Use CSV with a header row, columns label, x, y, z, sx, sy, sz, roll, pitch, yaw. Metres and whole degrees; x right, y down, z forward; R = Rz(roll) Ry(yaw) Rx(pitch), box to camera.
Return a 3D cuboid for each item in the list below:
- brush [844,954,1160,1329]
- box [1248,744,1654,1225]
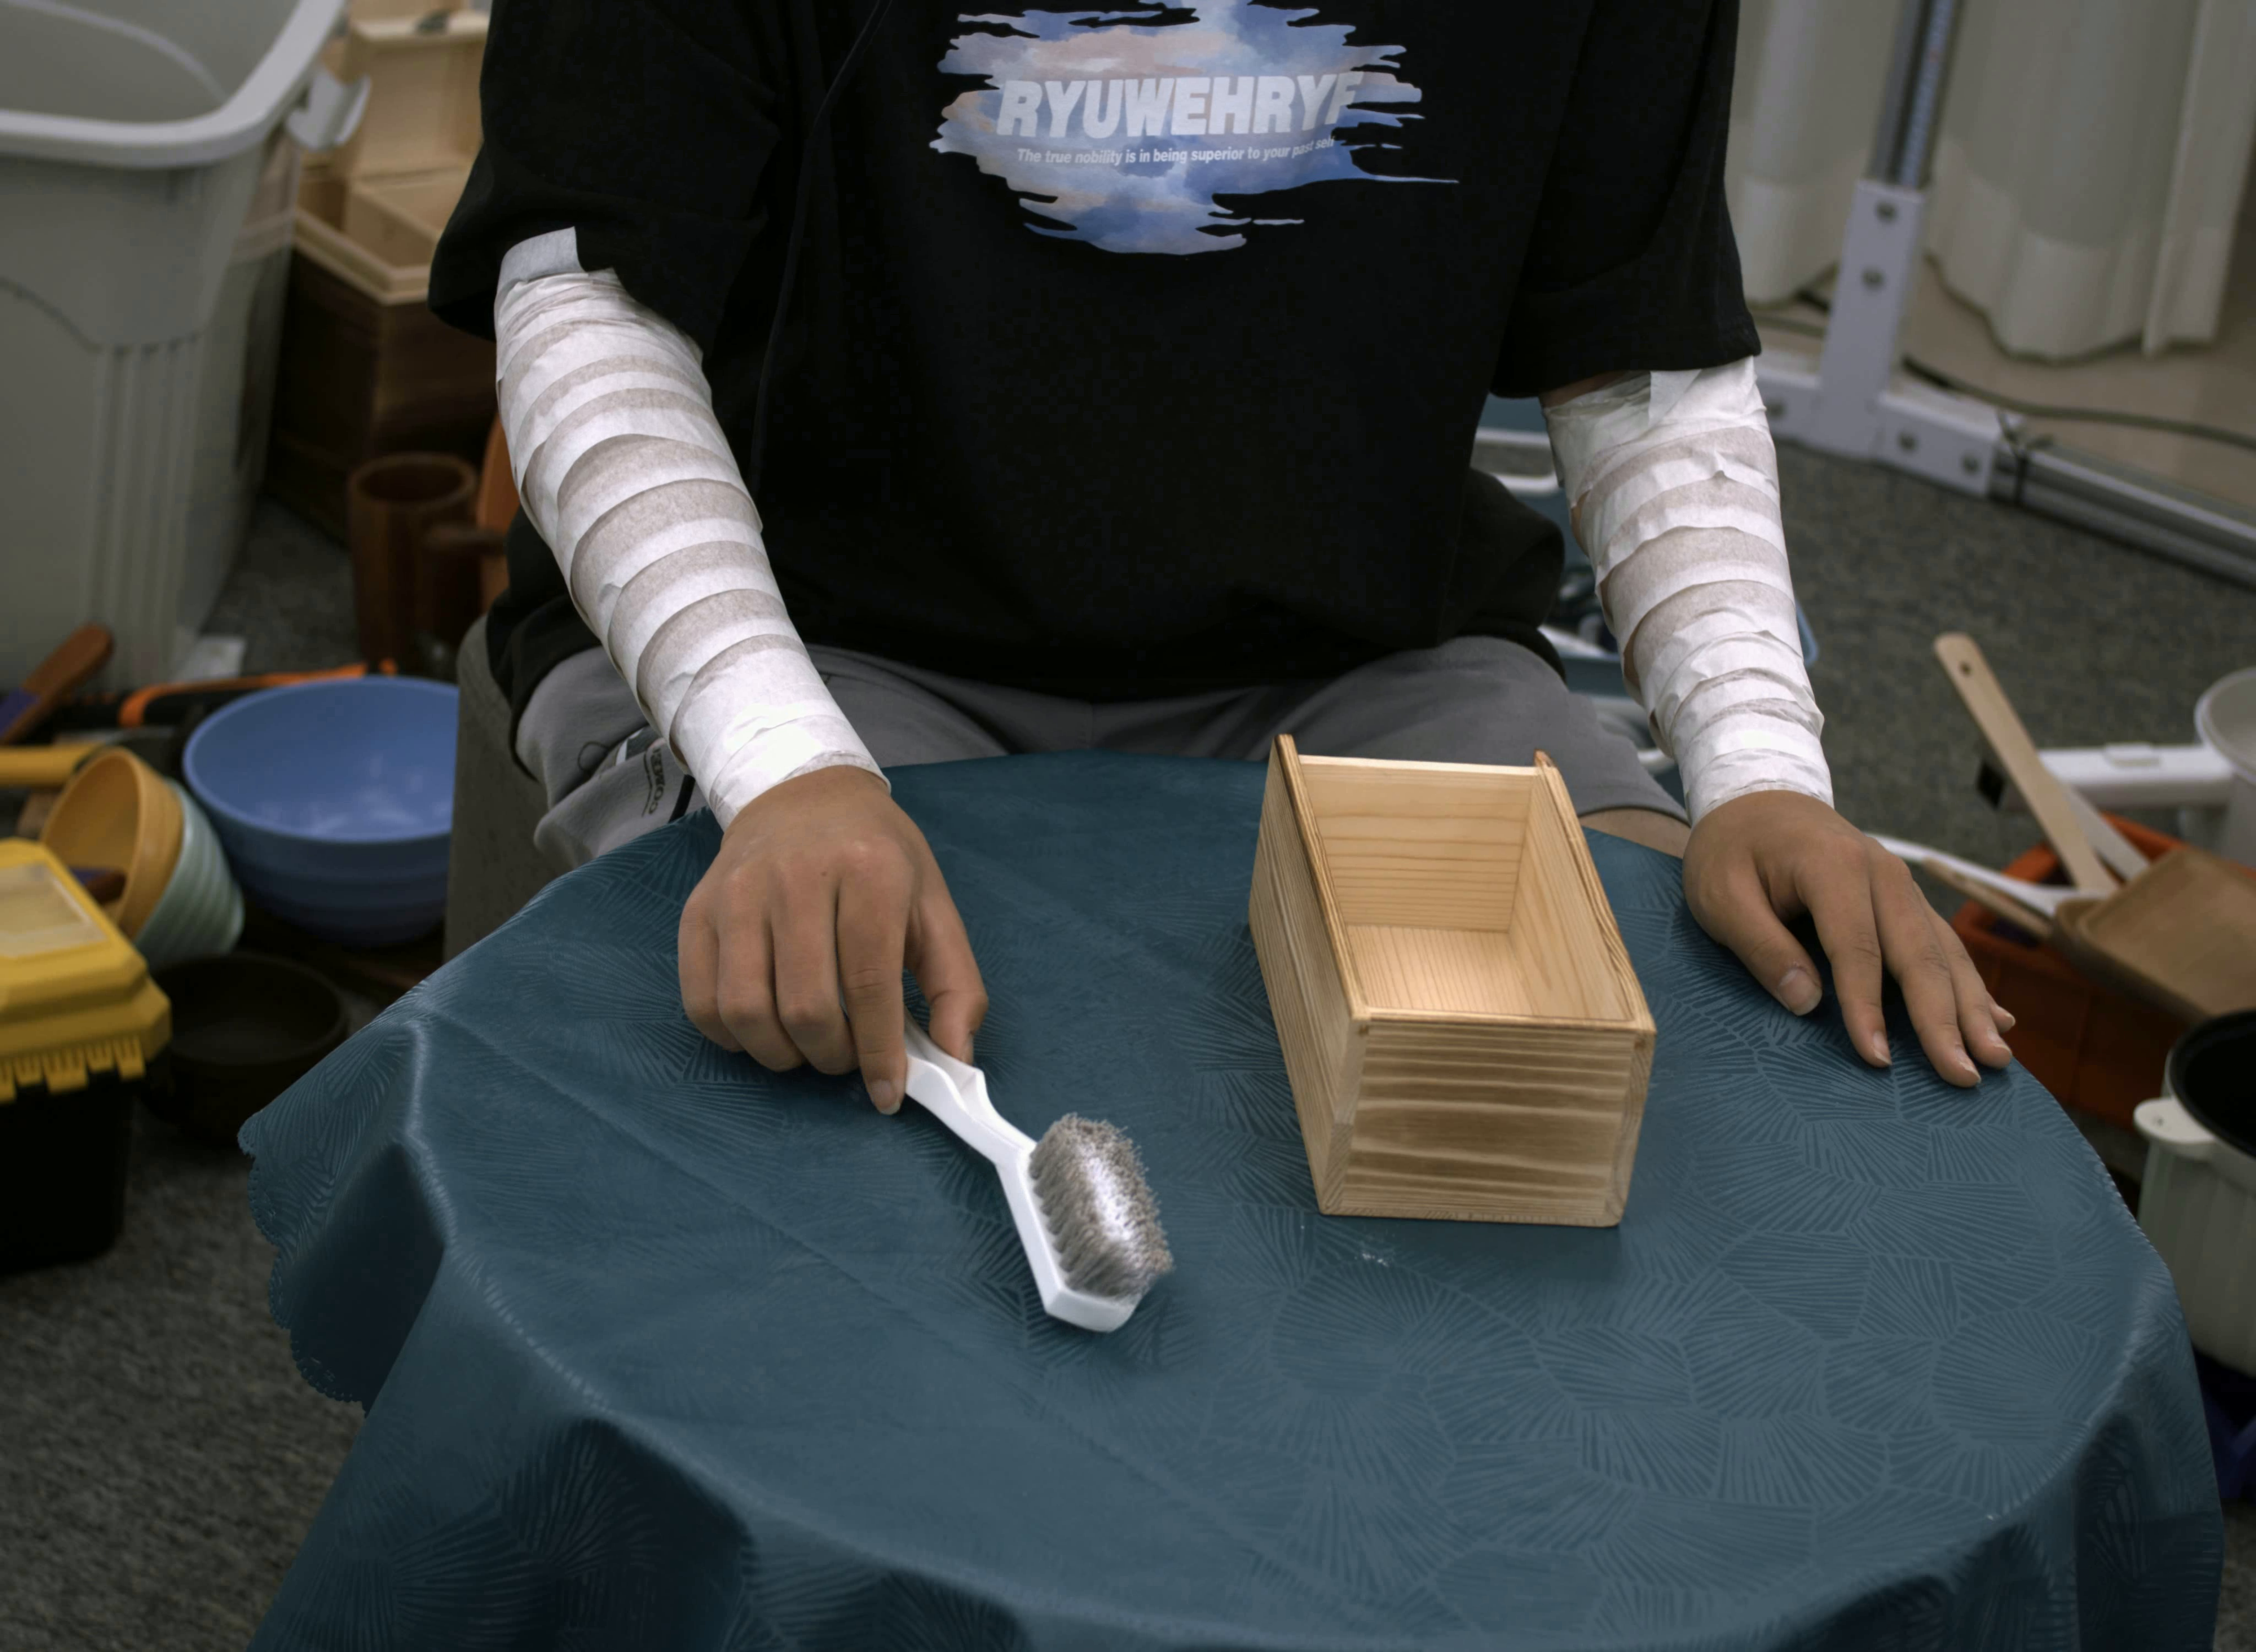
label,x,y,z,sx,sy,sz,roll,pitch,yaw
brush,-0.046,0.089,1.801,0.034,0.050,0.246,10,24,-27
box,0.110,0.053,1.882,0.107,0.080,0.213,2,26,-8
